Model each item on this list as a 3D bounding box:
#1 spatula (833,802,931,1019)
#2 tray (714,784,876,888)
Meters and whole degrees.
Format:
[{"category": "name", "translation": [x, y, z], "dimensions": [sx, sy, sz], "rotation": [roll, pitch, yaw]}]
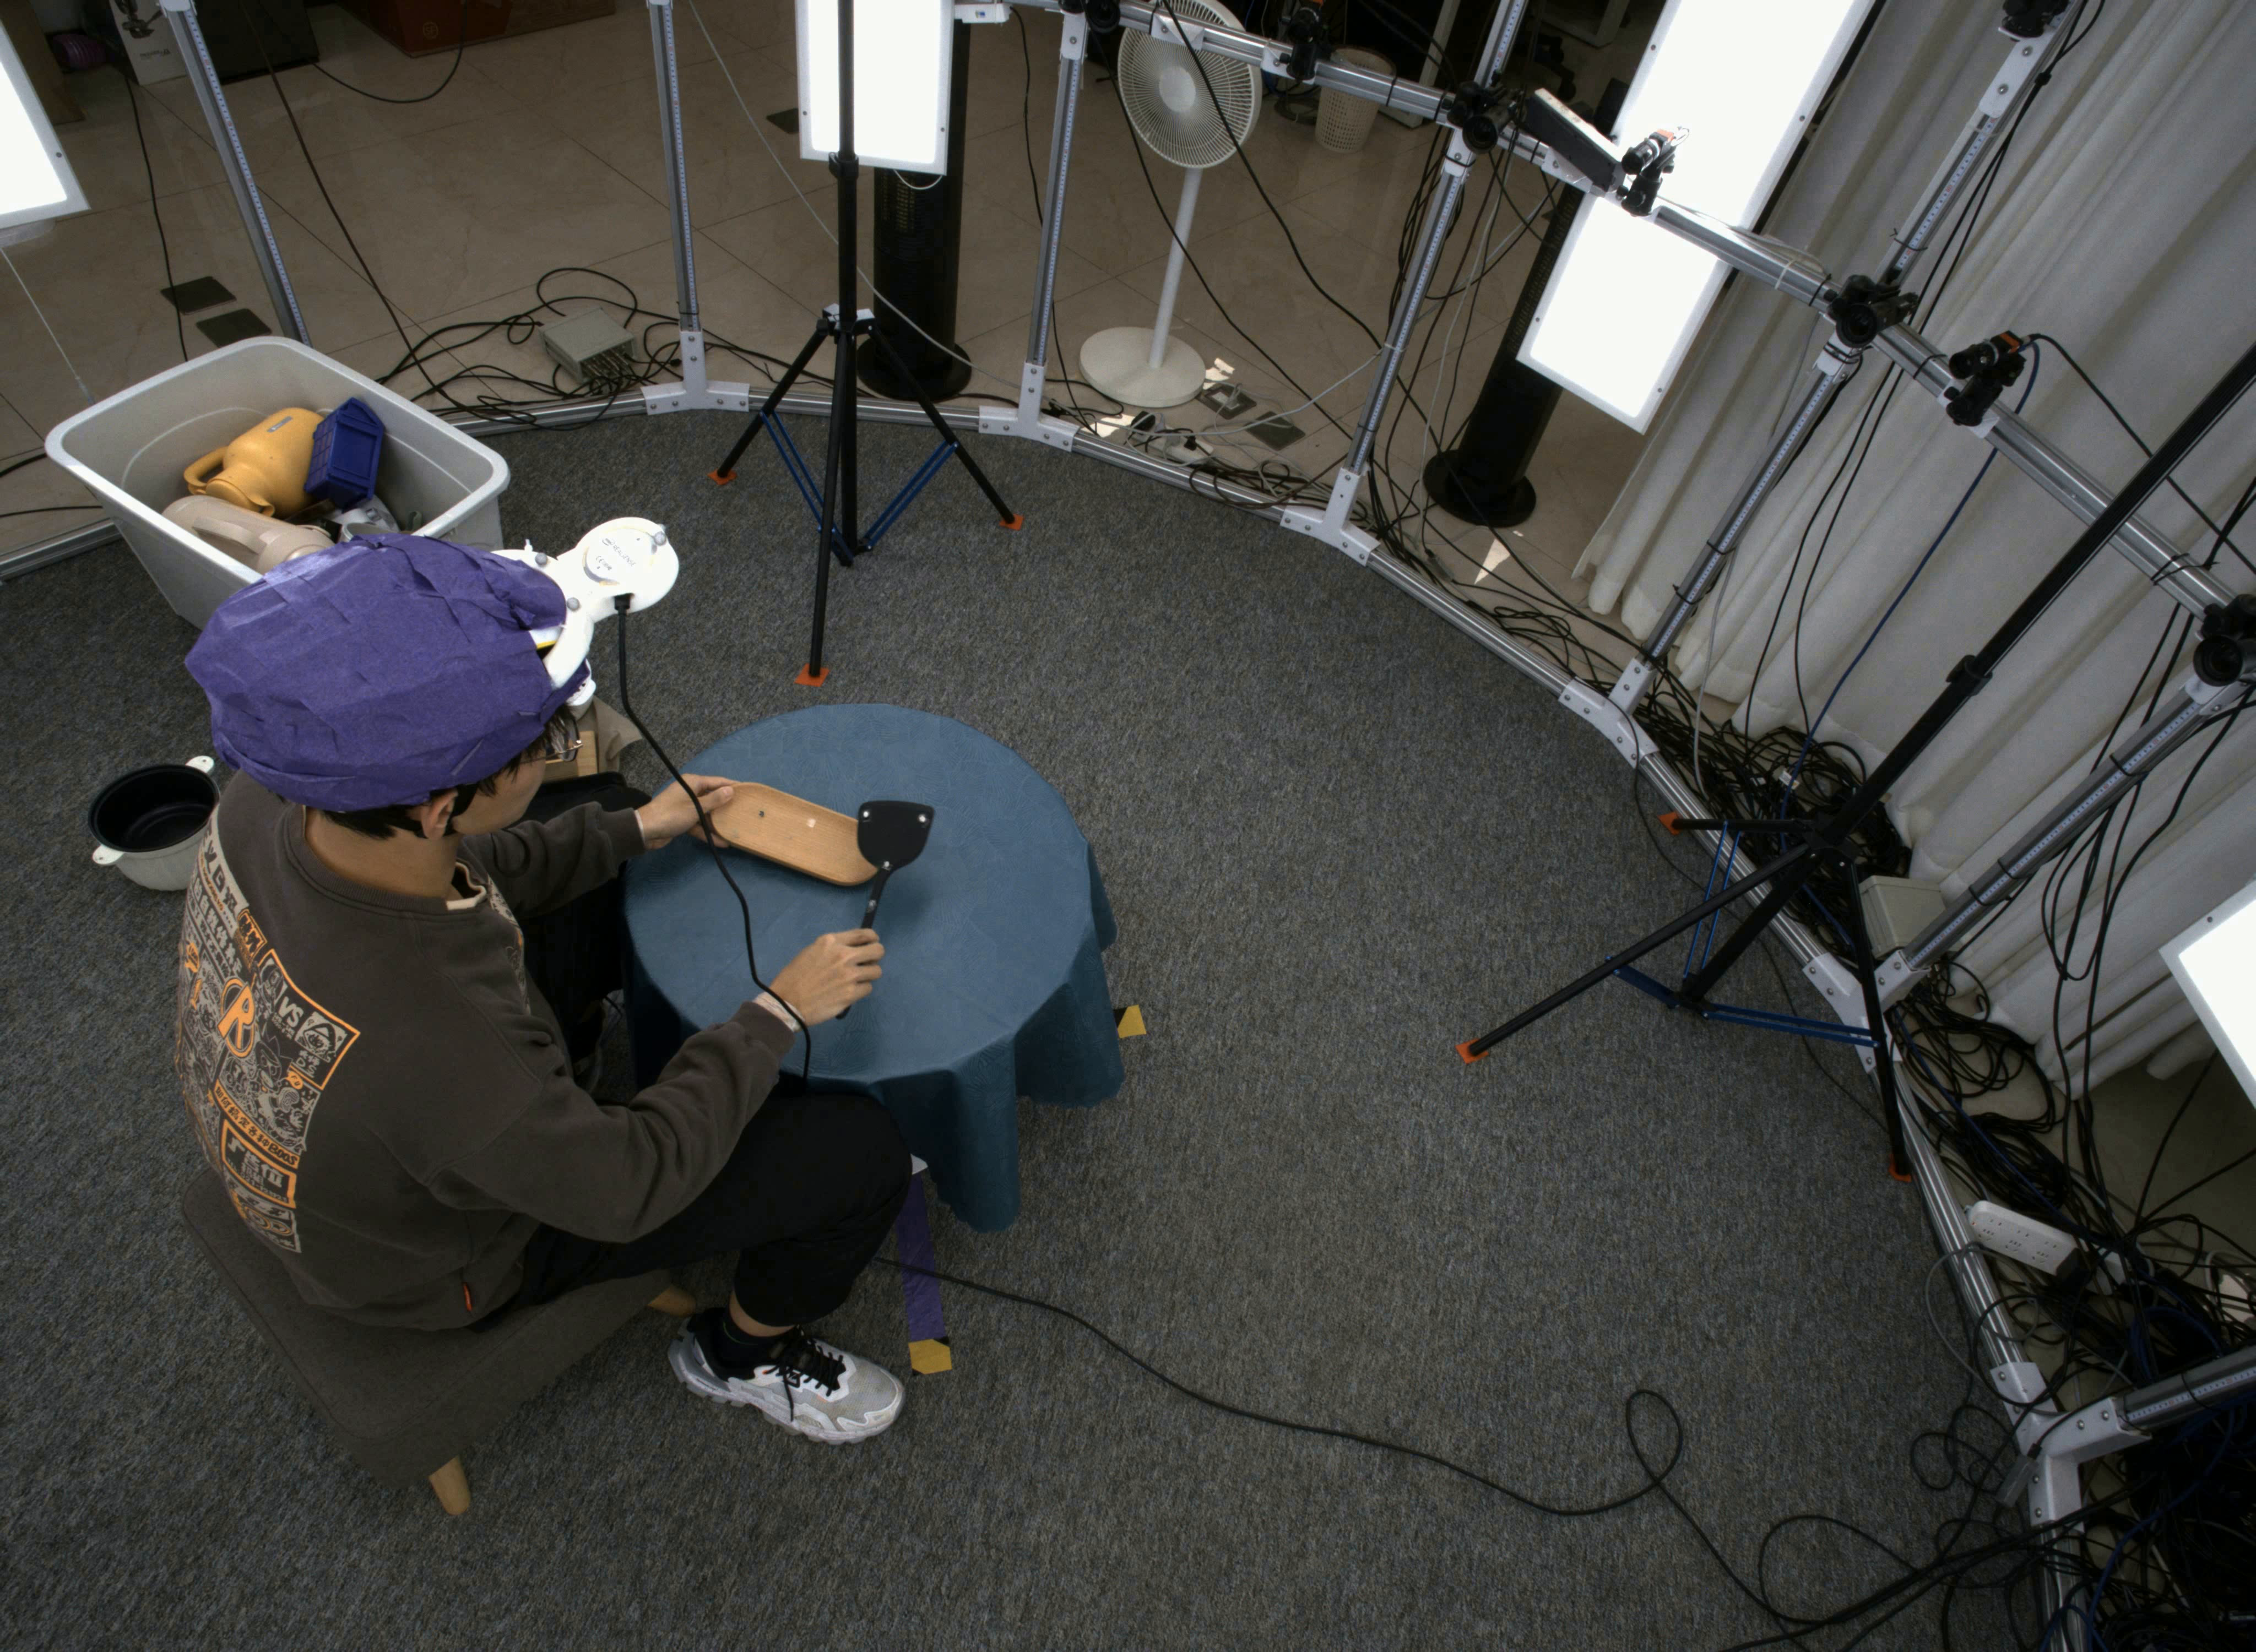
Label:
[{"category": "spatula", "translation": [-0.312, 0.093, 1.564], "dimensions": [0.098, 0.042, 0.320], "rotation": [3, 44, 5]}, {"category": "tray", "translation": [-0.428, 0.012, 1.698], "dimensions": [0.232, 0.020, 0.100], "rotation": [22, 54, -10]}]
